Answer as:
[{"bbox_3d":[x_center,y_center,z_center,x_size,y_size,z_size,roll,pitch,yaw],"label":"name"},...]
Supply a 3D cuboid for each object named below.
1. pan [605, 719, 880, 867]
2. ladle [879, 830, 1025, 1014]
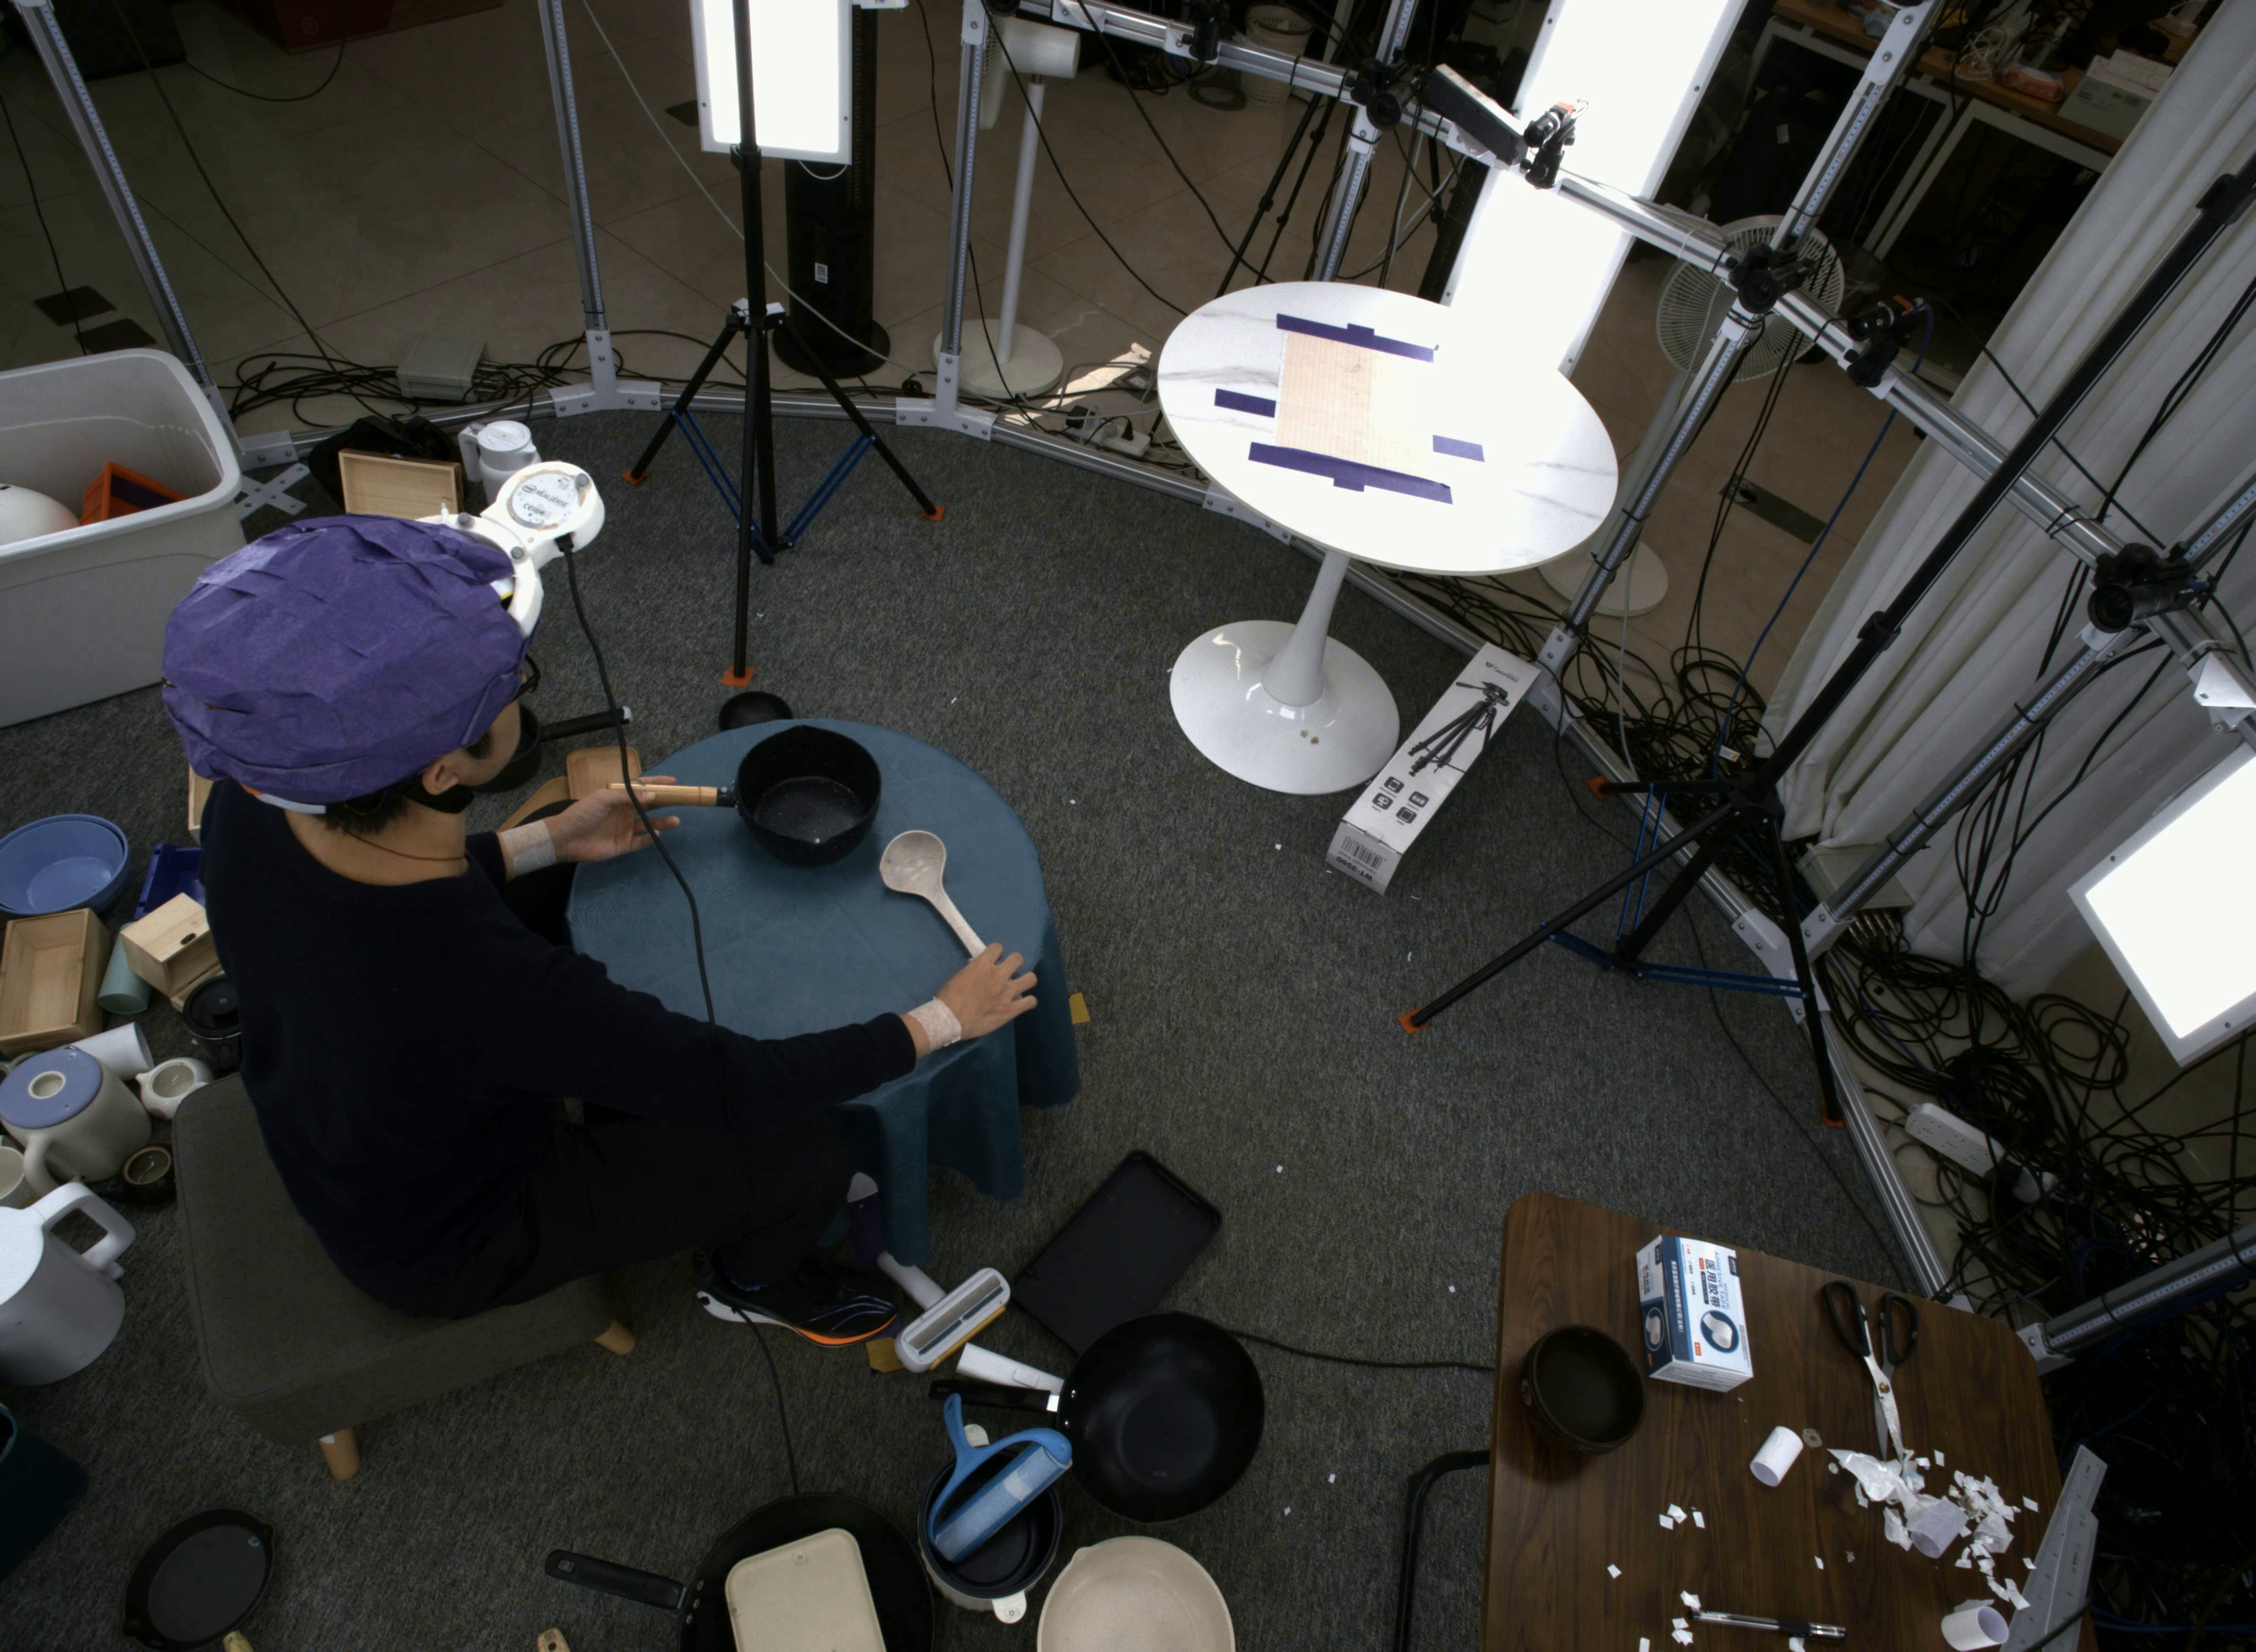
[{"bbox_3d":[-0.489,-0.031,1.649,0.345,0.110,0.203,-6,56,-21],"label":"pan"},{"bbox_3d":[-0.214,0.119,1.635,0.089,0.071,0.268,-33,66,-20],"label":"ladle"}]
